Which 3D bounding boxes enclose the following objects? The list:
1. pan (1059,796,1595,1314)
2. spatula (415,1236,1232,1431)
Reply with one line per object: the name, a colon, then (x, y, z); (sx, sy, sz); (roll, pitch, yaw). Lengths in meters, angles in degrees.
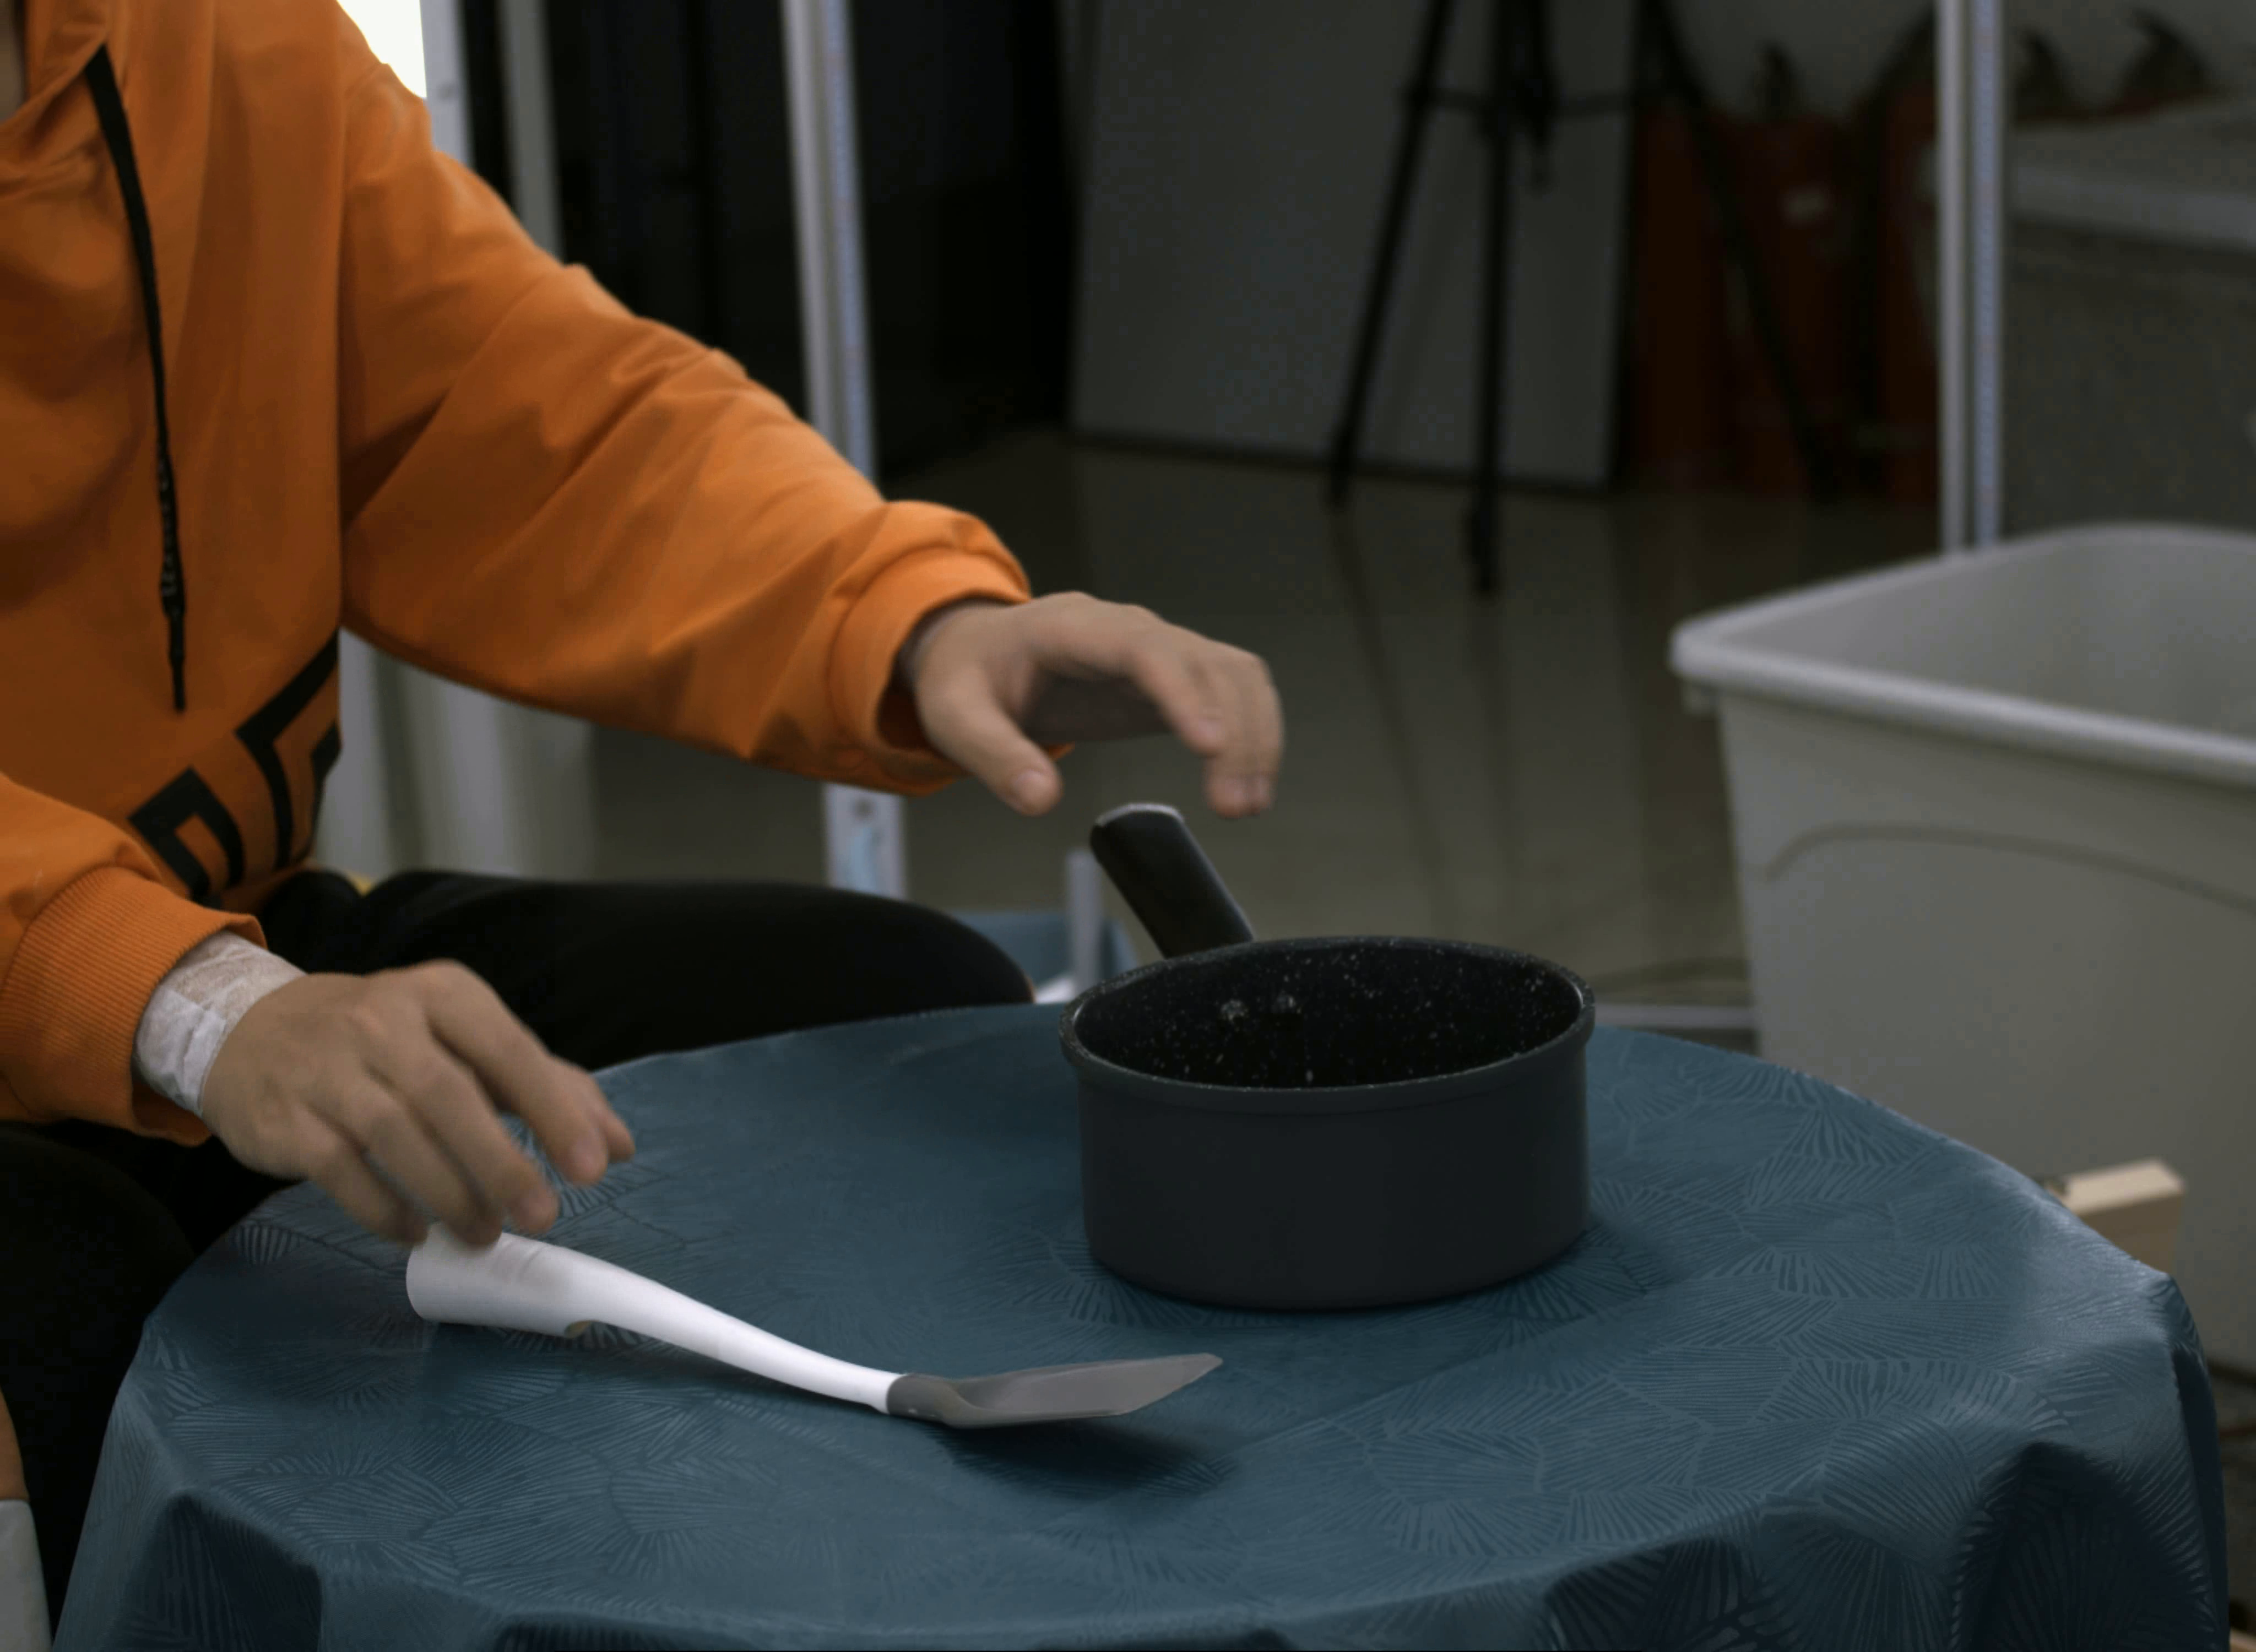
pan: (0.048, 0.072, 1.780); (0.169, 0.087, 0.331); (-6, 15, -10)
spatula: (-0.096, 0.154, 1.599); (0.289, 0.032, 0.057); (5, 13, 36)
